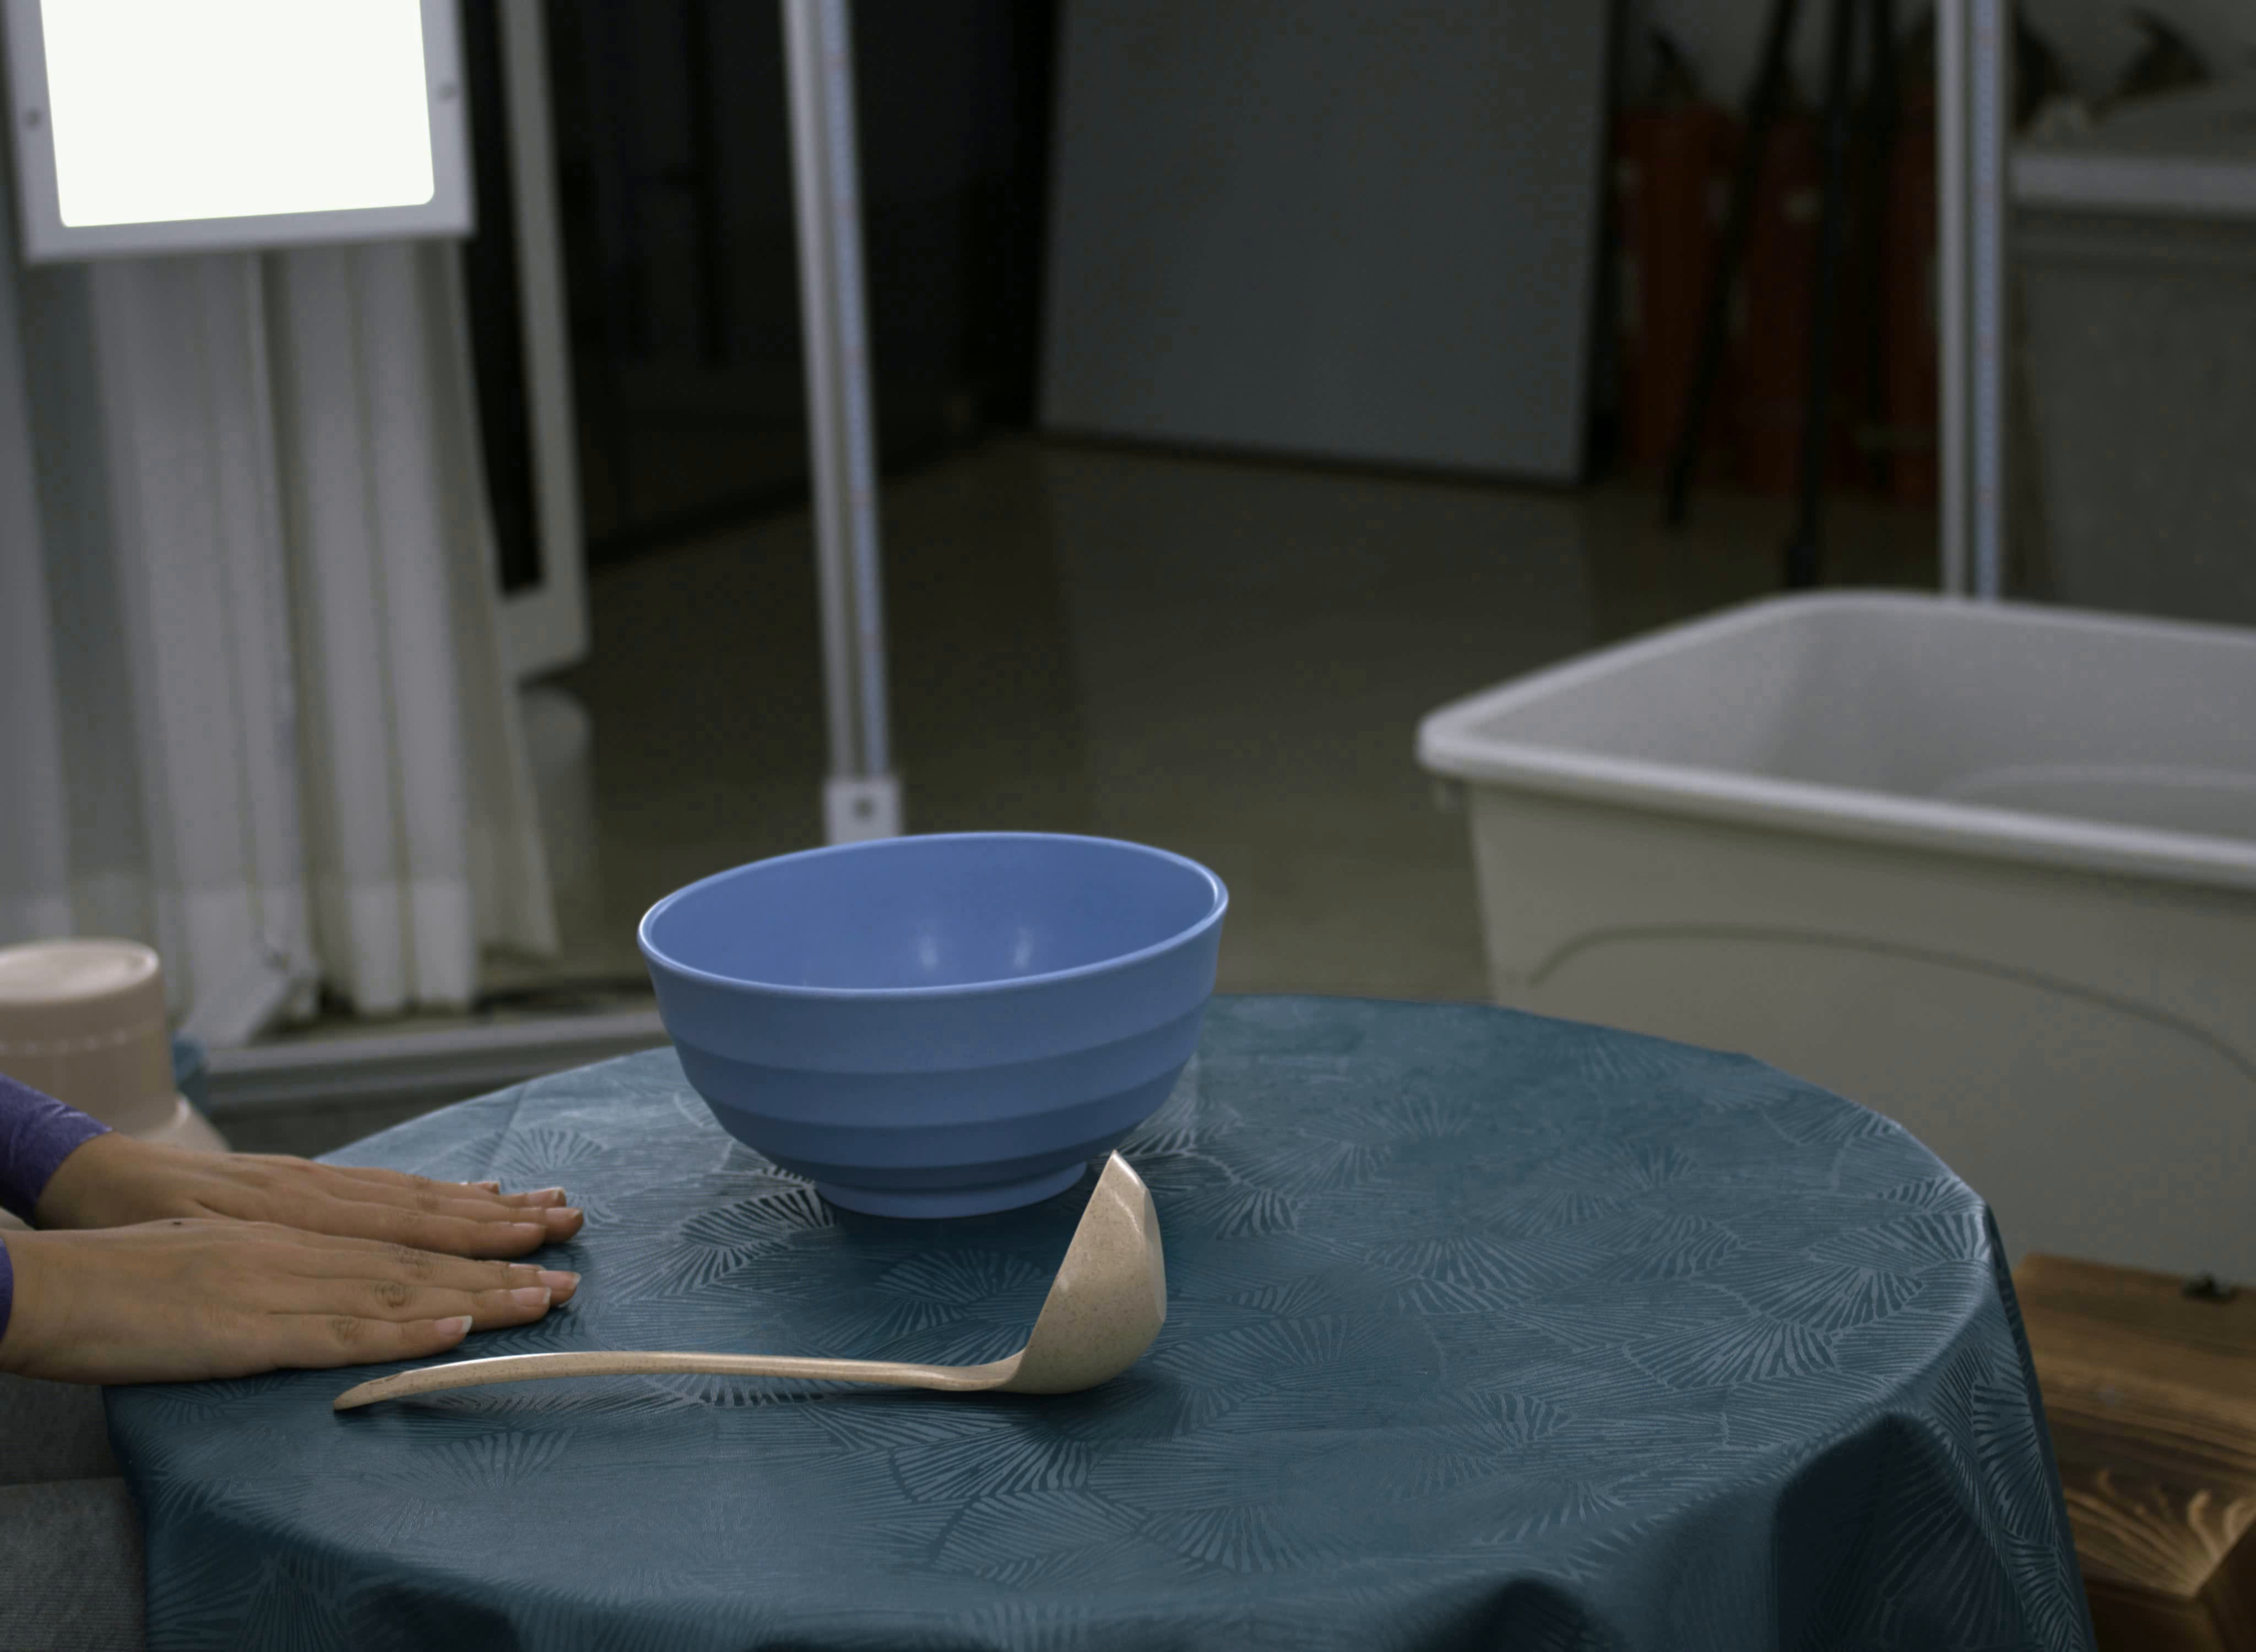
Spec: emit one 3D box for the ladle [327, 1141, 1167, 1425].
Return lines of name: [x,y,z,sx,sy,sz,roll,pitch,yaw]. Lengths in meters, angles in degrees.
ladle: [-0.114,0.135,1.594,0.252,0.074,0.072,-3,6,6]

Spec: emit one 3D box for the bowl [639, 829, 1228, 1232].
bowl: [-0.062,0.074,1.789,0.194,0.096,0.197,-3,16,0]
